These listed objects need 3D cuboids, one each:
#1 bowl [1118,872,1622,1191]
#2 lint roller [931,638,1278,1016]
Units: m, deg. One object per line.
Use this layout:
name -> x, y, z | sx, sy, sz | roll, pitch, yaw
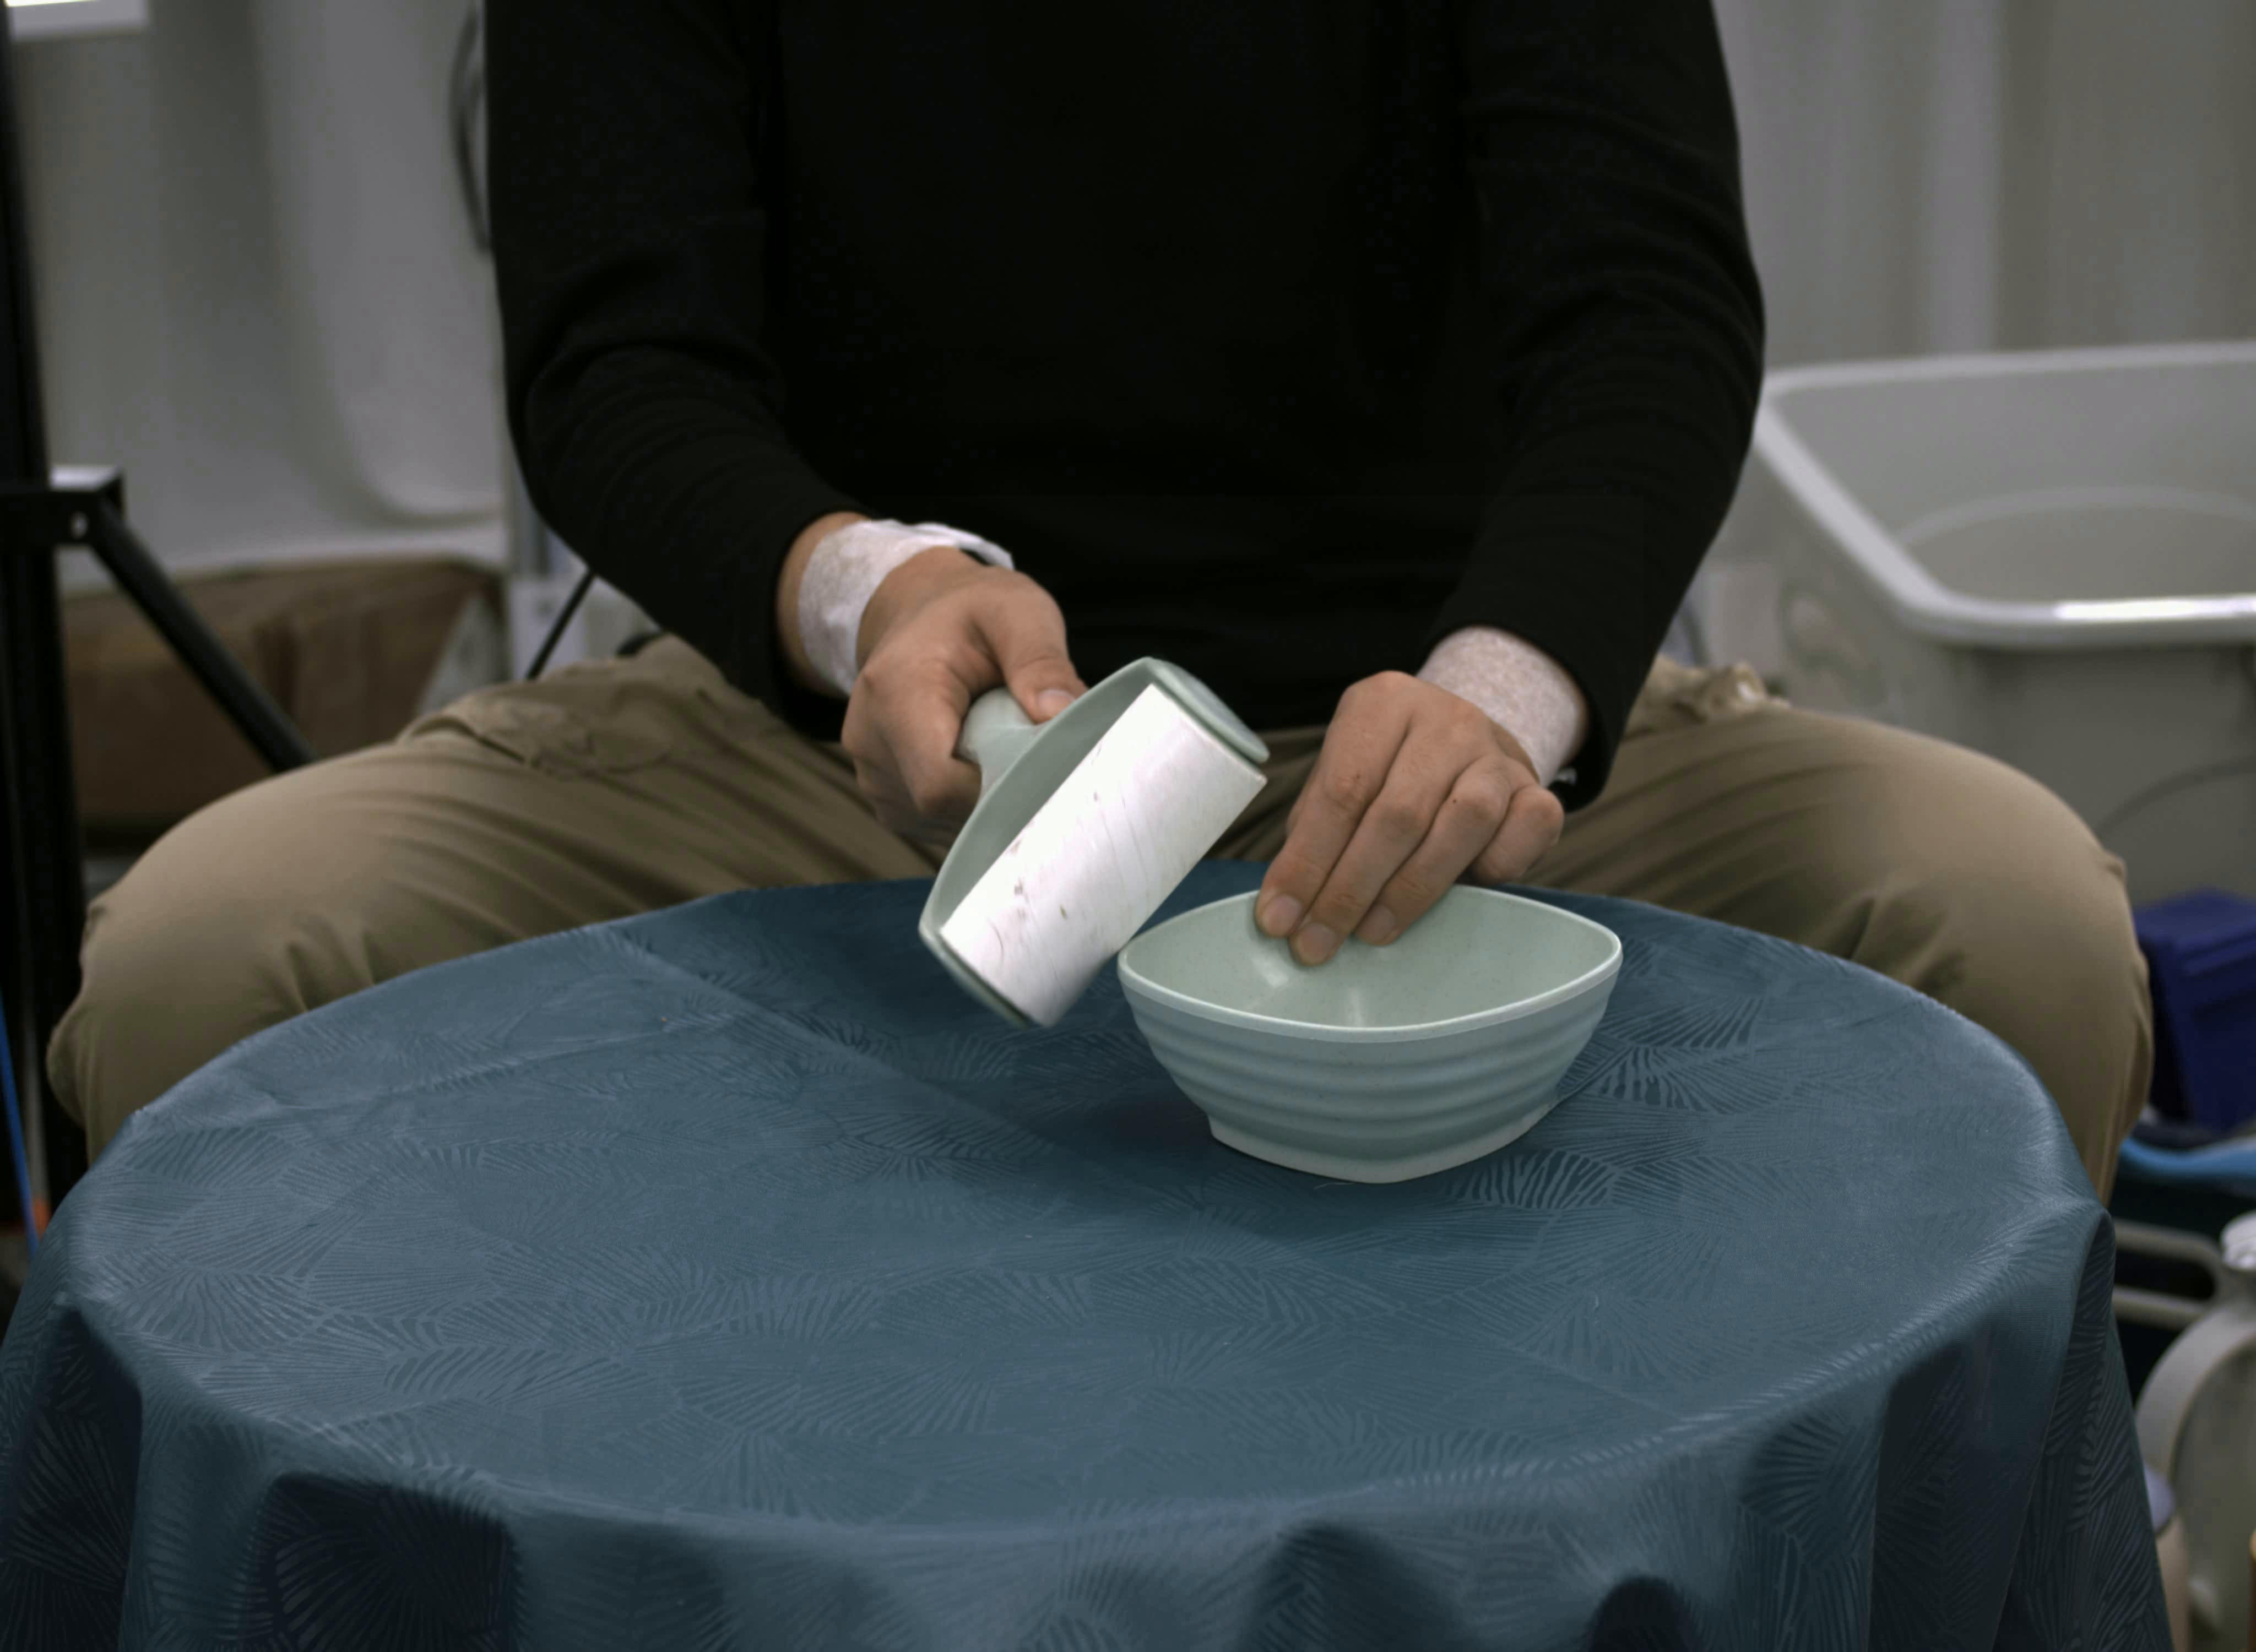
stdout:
bowl -> 0.073, 0.065, 1.593 | 0.150, 0.058, 0.152 | -2, 18, -1
lint roller -> -0.023, -0.018, 1.663 | 0.047, 0.117, 0.200 | 38, 4, -22
